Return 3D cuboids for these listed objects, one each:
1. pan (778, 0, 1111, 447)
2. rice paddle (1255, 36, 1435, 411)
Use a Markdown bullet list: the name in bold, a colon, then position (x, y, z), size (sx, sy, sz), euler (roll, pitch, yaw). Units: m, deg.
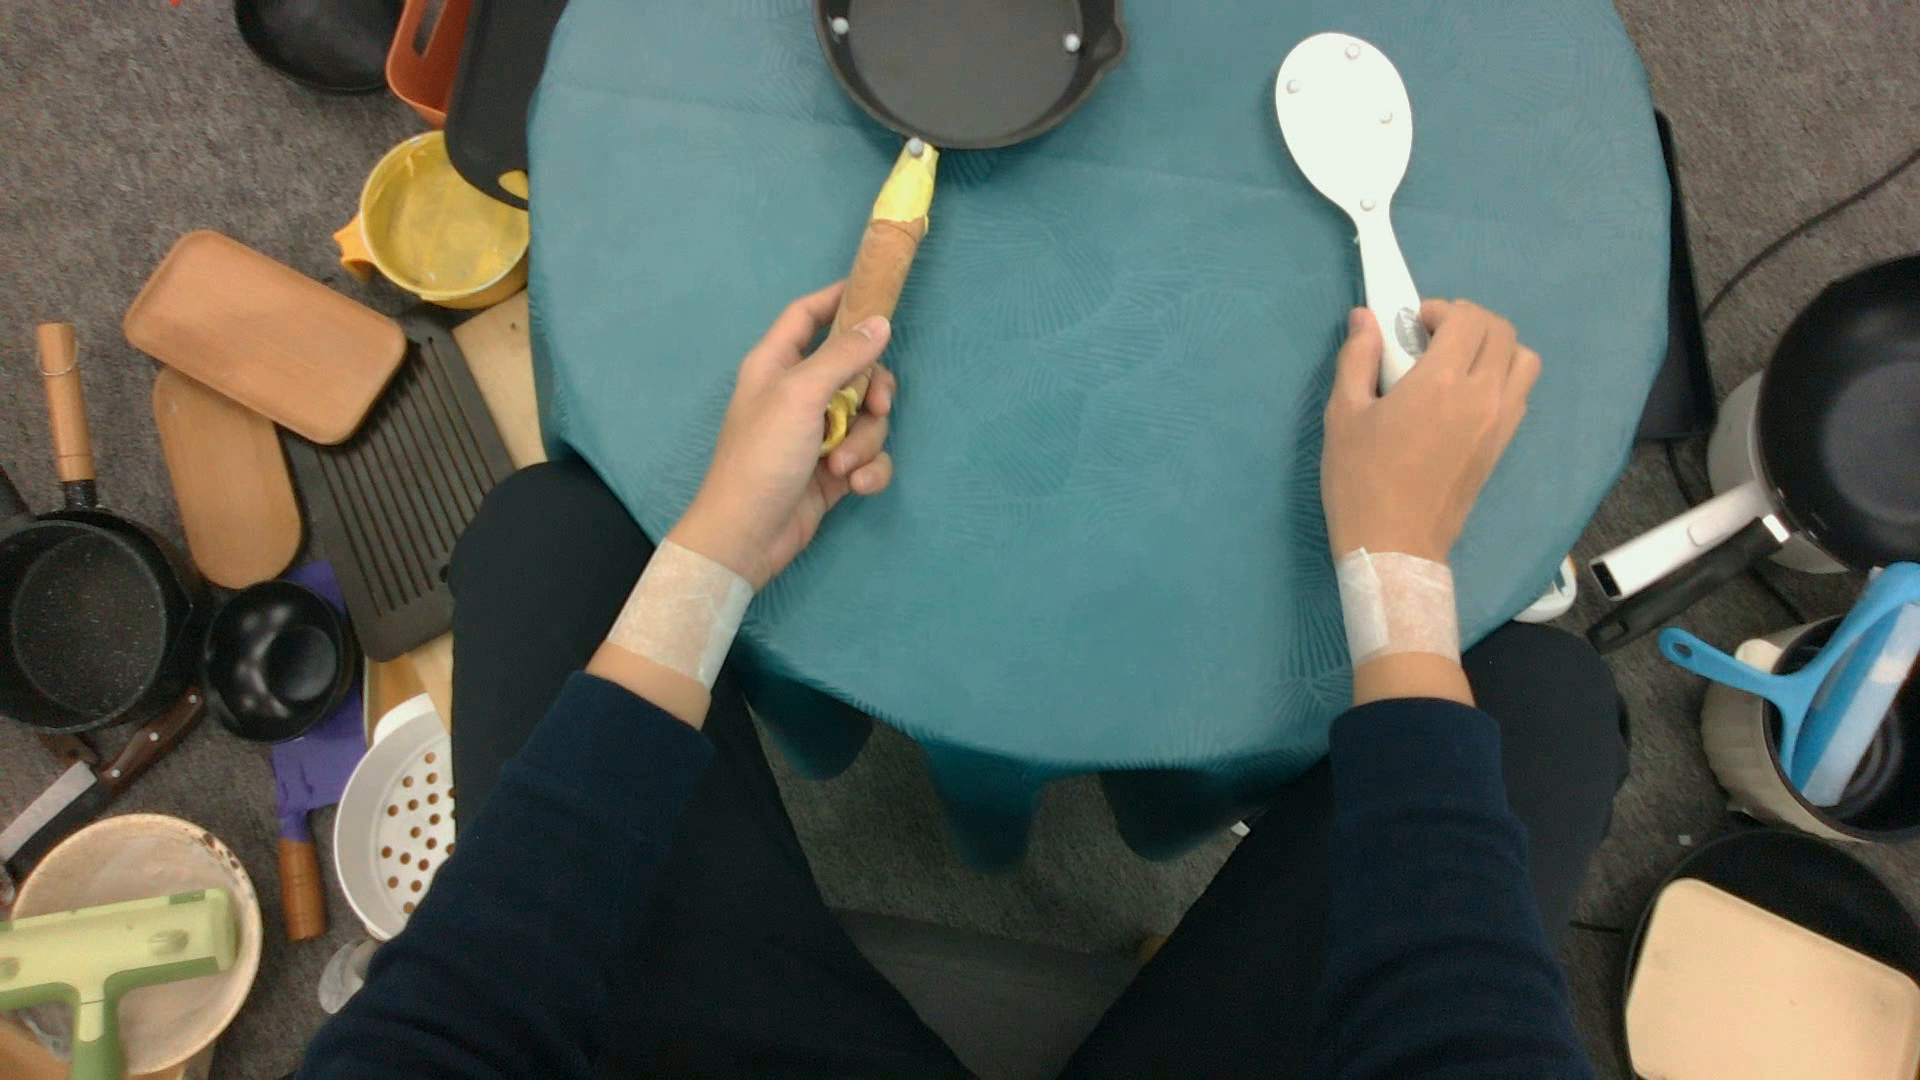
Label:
- **pan**: position (-0.031, -0.196, 0.696), size (0.169, 0.049, 0.325), euler (19, 79, 1)
- **rice paddle**: position (0.202, -0.169, 0.712), size (0.069, 0.029, 0.205), euler (-12, 82, -7)
